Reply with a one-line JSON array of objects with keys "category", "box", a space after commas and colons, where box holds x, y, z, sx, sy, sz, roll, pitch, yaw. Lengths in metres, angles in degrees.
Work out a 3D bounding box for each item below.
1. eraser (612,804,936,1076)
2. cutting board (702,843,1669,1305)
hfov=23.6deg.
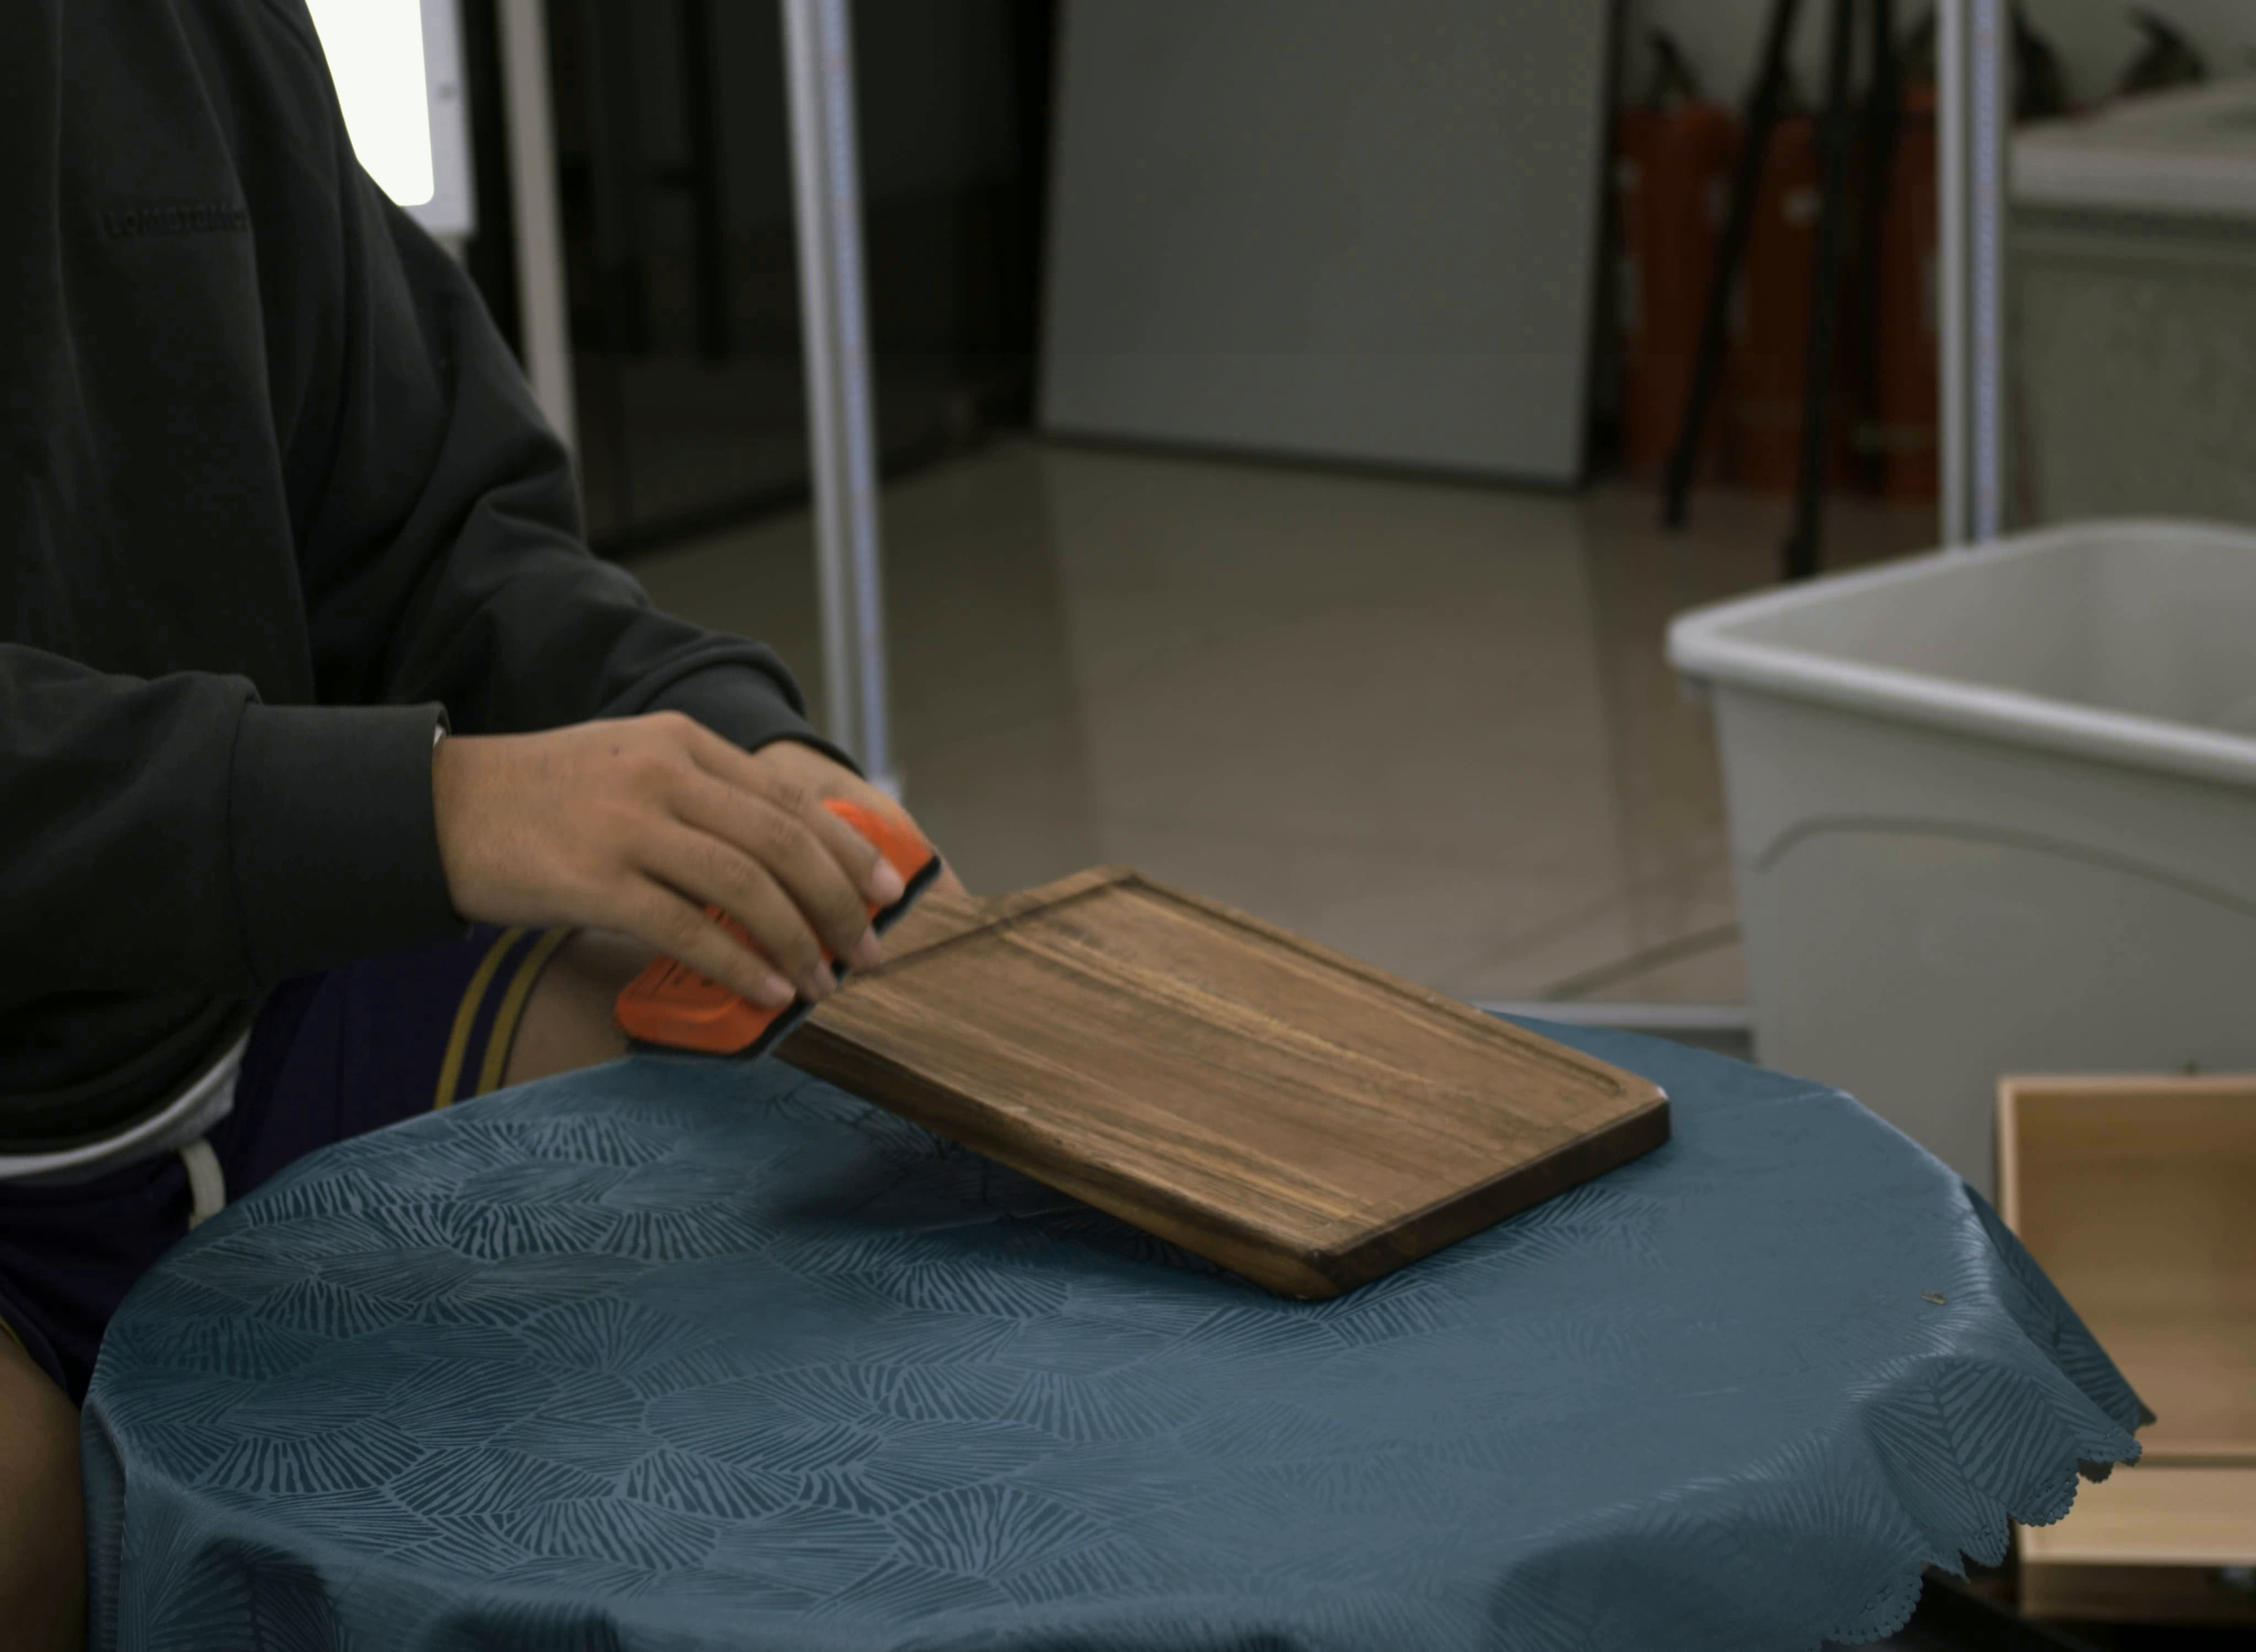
[{"category": "eraser", "box": [-0.112, 0.035, 1.721, 0.059, 0.023, 0.107, 3, 42, 47]}, {"category": "cutting board", "box": [-0.011, 0.067, 1.812, 0.355, 0.023, 0.197, 21, 26, 36]}]
